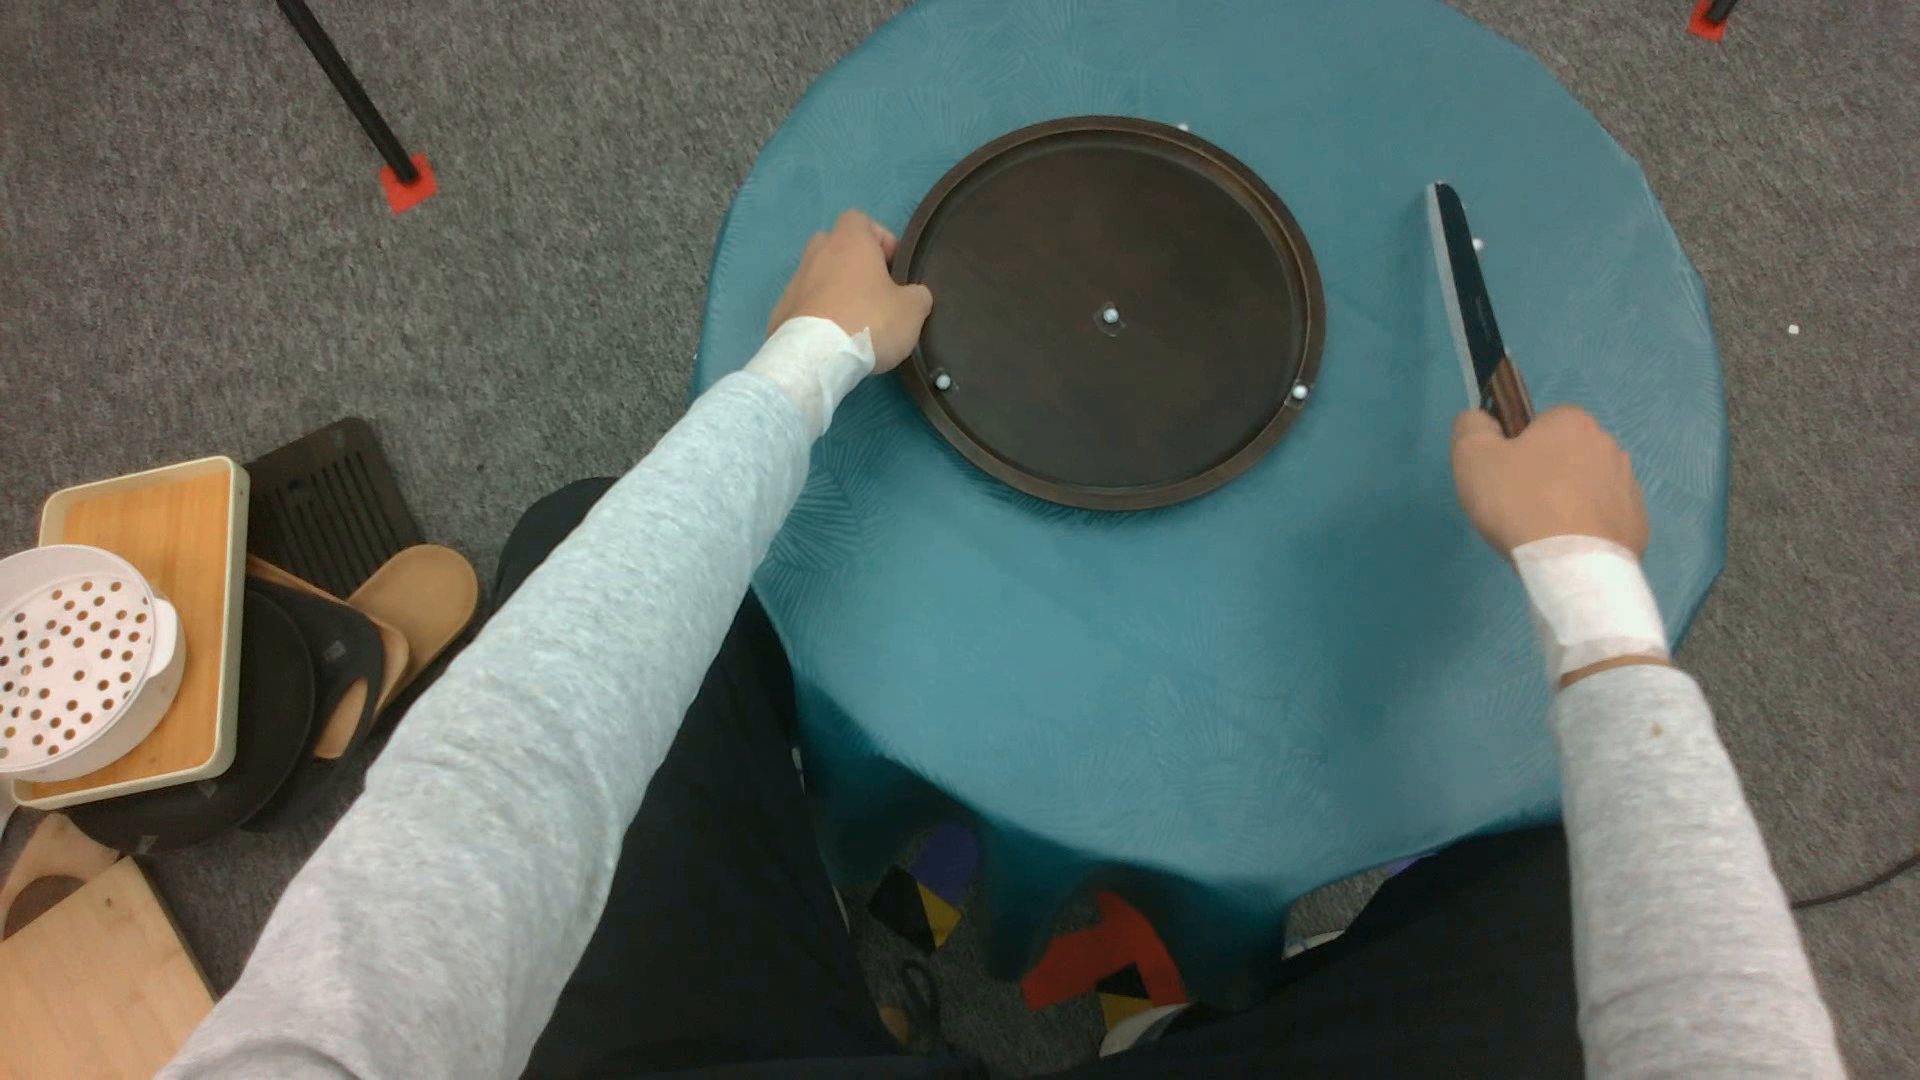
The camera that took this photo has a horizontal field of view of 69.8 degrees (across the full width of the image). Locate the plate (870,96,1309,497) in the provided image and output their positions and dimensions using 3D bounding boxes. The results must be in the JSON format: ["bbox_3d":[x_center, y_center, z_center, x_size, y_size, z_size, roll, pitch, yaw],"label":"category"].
[{"bbox_3d":[0.074,-0.144,0.797,0.255,0.029,0.255,1,73,-4],"label":"plate"}]

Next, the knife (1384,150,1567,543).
[{"bbox_3d":[0.269,-0.115,0.744,0.020,0.050,0.290,1,54,-10],"label":"knife"}]
